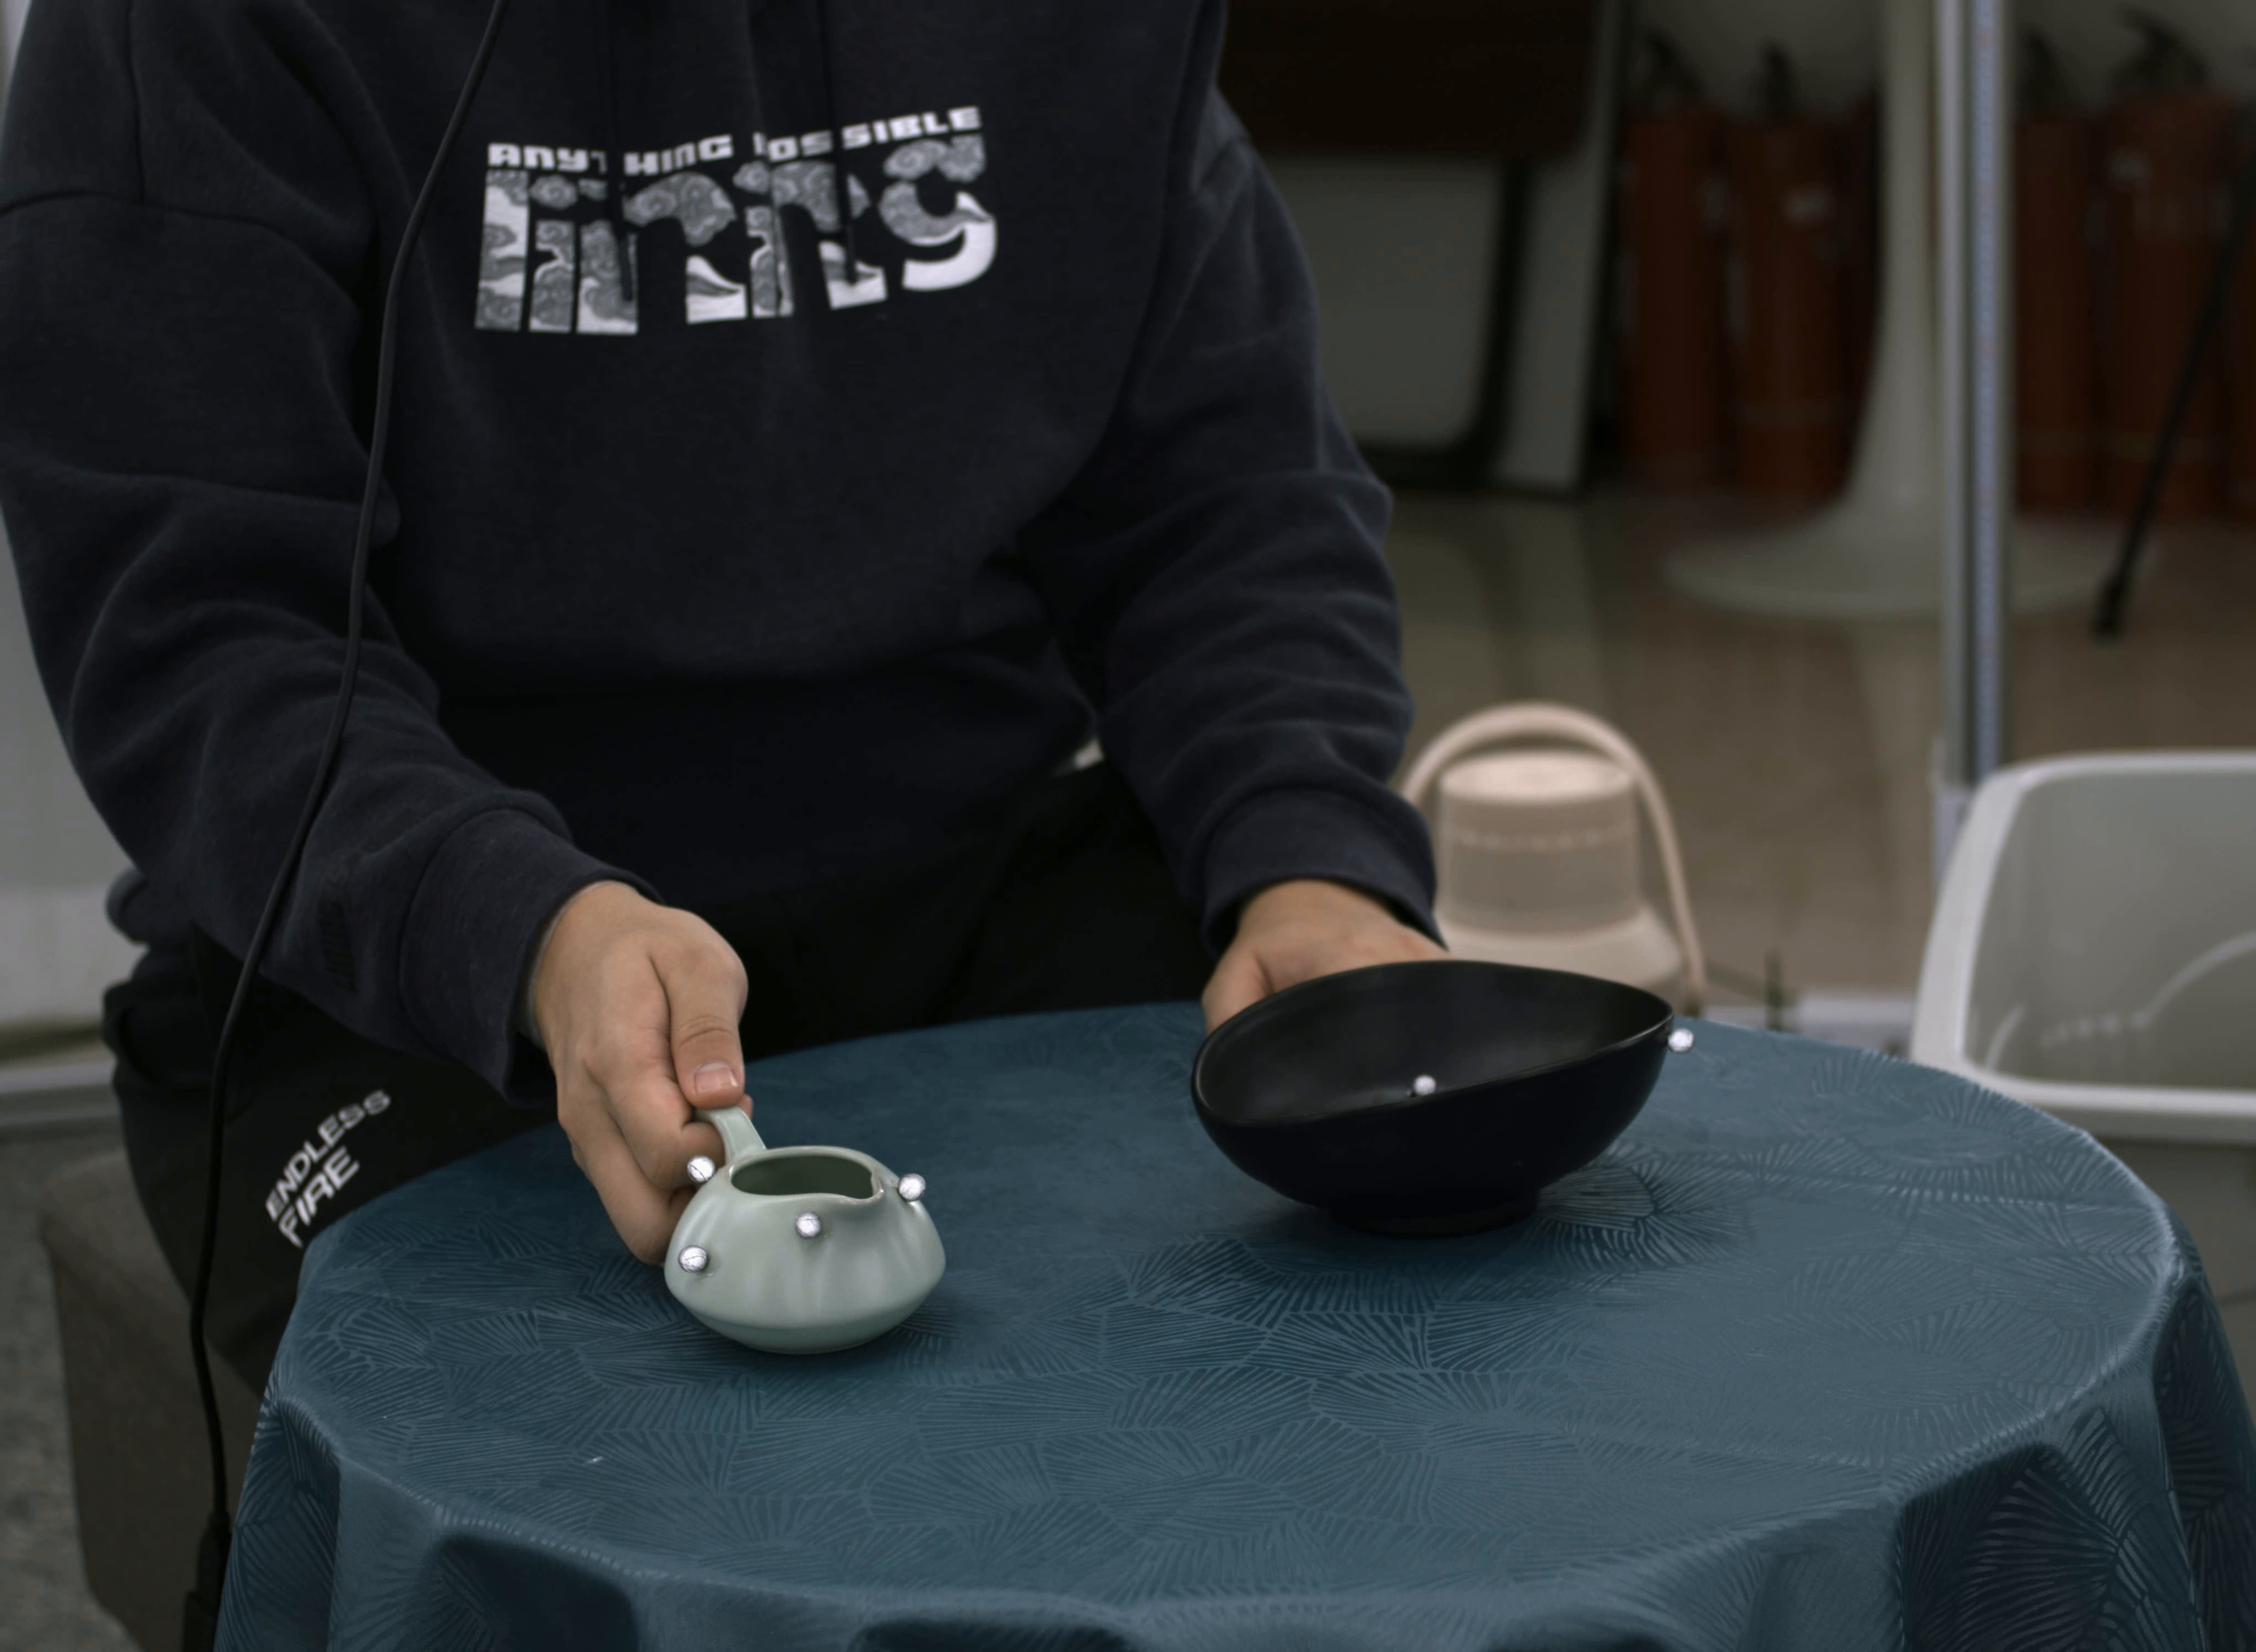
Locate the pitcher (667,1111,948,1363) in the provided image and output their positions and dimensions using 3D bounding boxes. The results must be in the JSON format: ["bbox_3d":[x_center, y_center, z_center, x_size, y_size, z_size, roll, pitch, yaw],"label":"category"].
[{"bbox_3d":[-0.104,0.126,1.657,0.084,0.061,0.109,-12,18,-33],"label":"pitcher"}]

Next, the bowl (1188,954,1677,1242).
[{"bbox_3d":[0.100,0.092,1.732,0.166,0.067,0.139,-14,16,-33],"label":"bowl"}]
